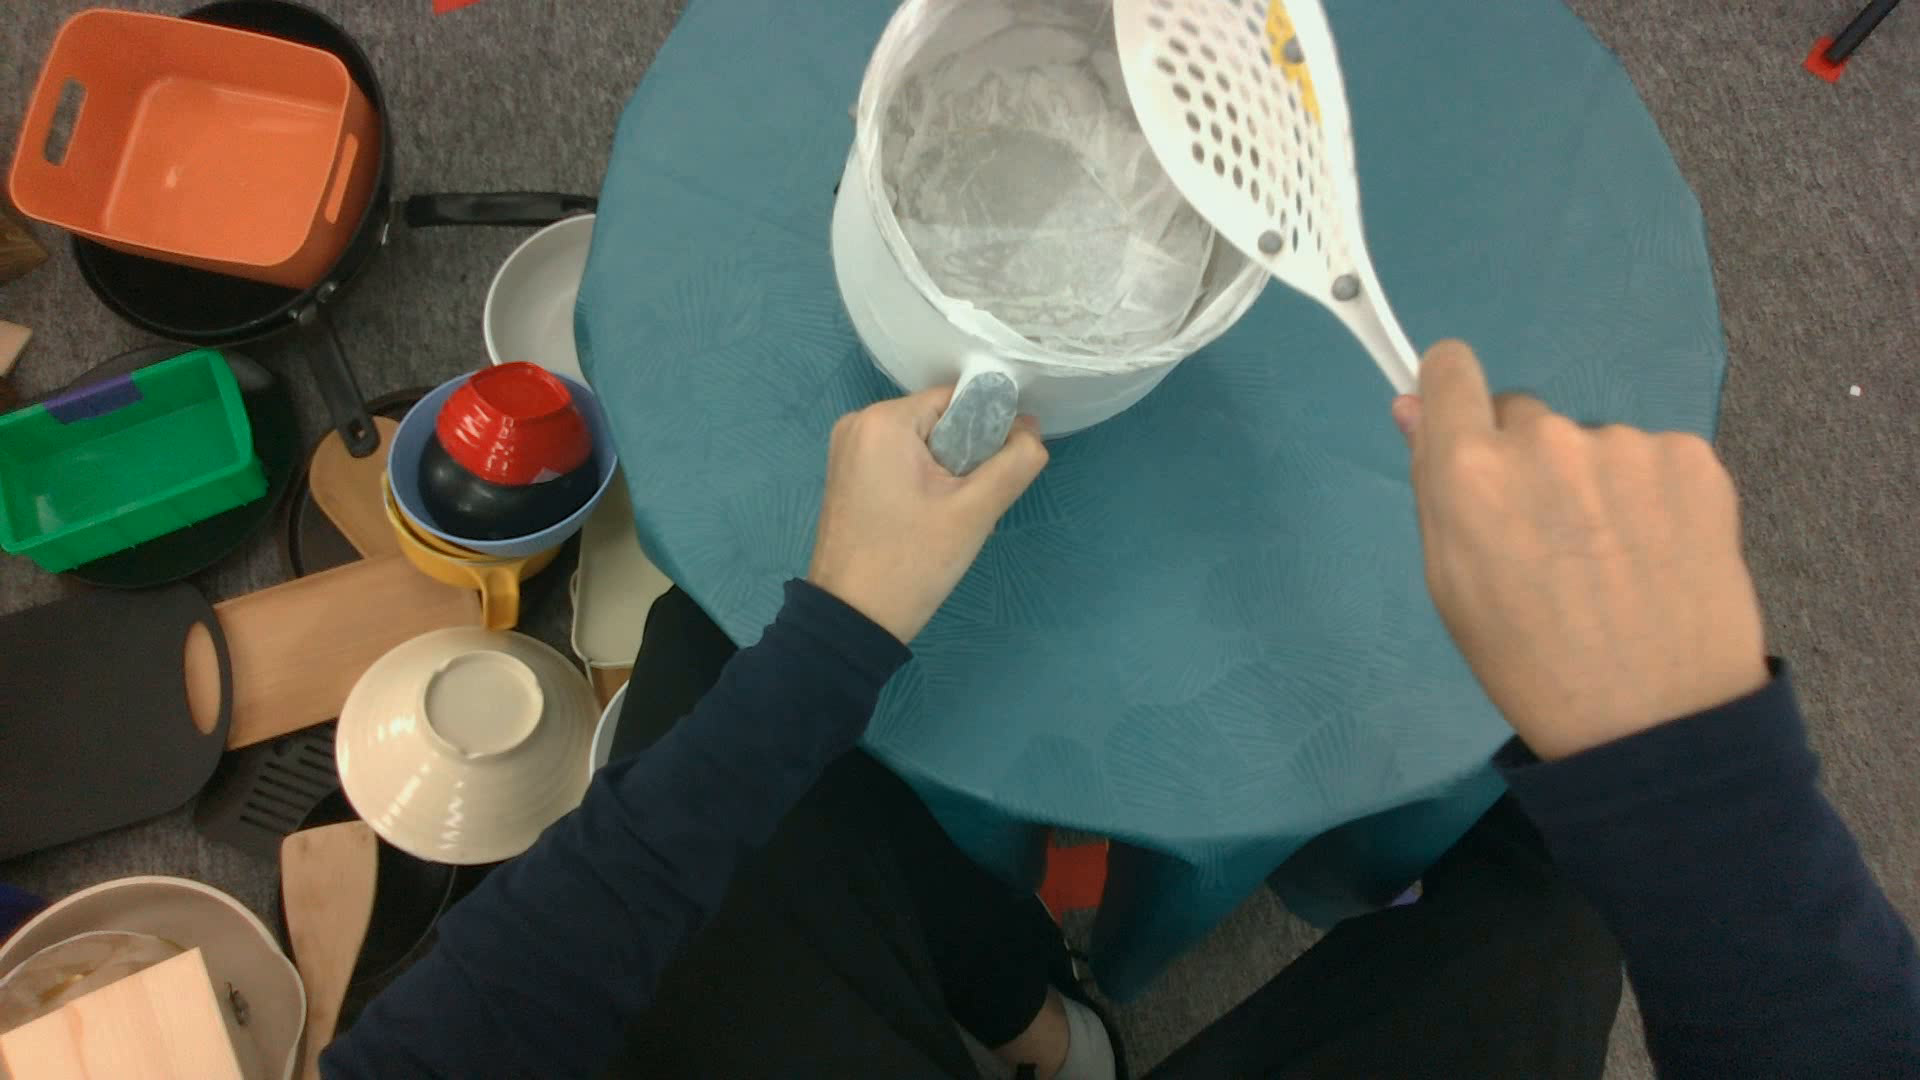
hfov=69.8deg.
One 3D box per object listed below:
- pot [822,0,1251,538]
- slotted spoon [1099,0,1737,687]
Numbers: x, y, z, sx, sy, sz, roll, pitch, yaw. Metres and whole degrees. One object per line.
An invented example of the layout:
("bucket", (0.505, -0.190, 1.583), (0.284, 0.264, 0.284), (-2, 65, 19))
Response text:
("pot", (0.024, -0.117, 0.593), (0.179, 0.136, 0.234), (19, 75, -6))
("slotted spoon", (0.135, -0.091, 0.469), (0.050, 0.136, 0.349), (-20, 62, -4))
